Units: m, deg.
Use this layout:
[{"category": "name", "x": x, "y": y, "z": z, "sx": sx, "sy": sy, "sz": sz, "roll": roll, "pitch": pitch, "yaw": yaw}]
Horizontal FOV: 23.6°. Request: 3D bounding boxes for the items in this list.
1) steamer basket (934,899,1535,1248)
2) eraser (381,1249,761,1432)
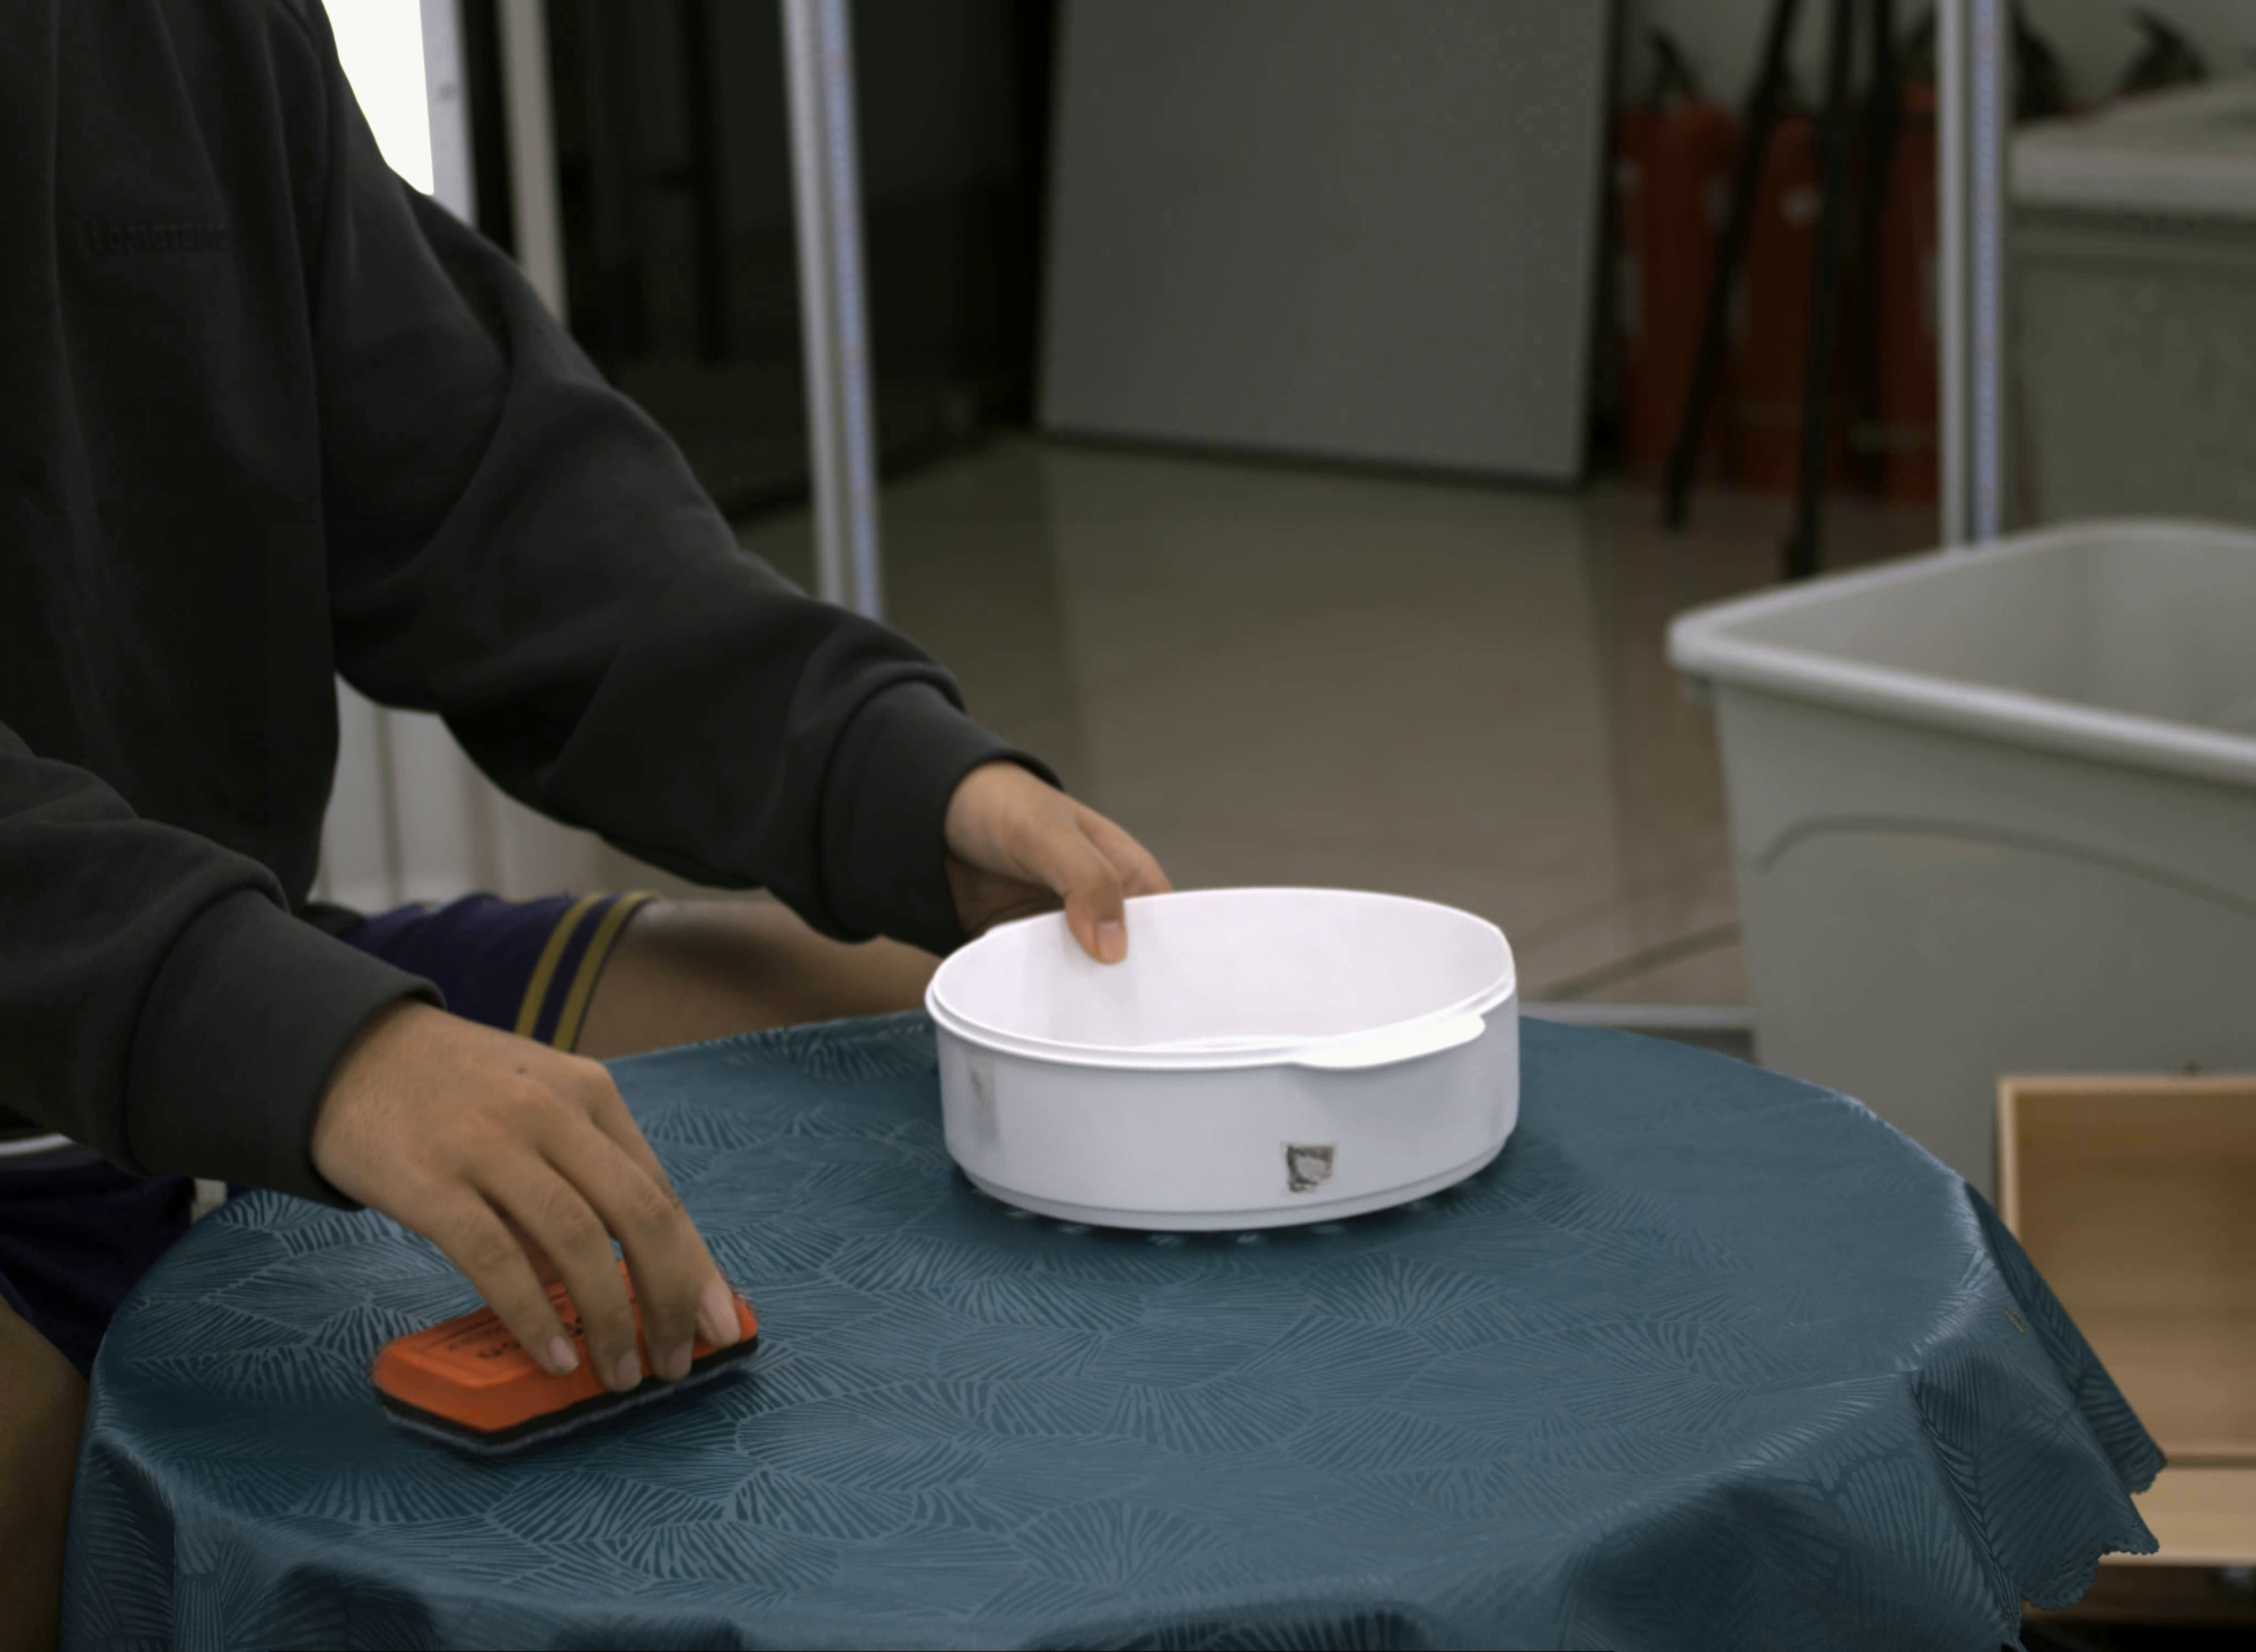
[{"category": "steamer basket", "x": 0.037, "y": 0.082, "z": 1.785, "sx": 0.197, "sy": 0.070, "sz": 0.233, "roll": -13, "pitch": 17, "yaw": -30}, {"category": "eraser", "x": -0.164, "y": 0.151, "z": 1.600, "sx": 0.106, "sy": 0.023, "sz": 0.059, "roll": -19, "pitch": 11, "yaw": -40}]
